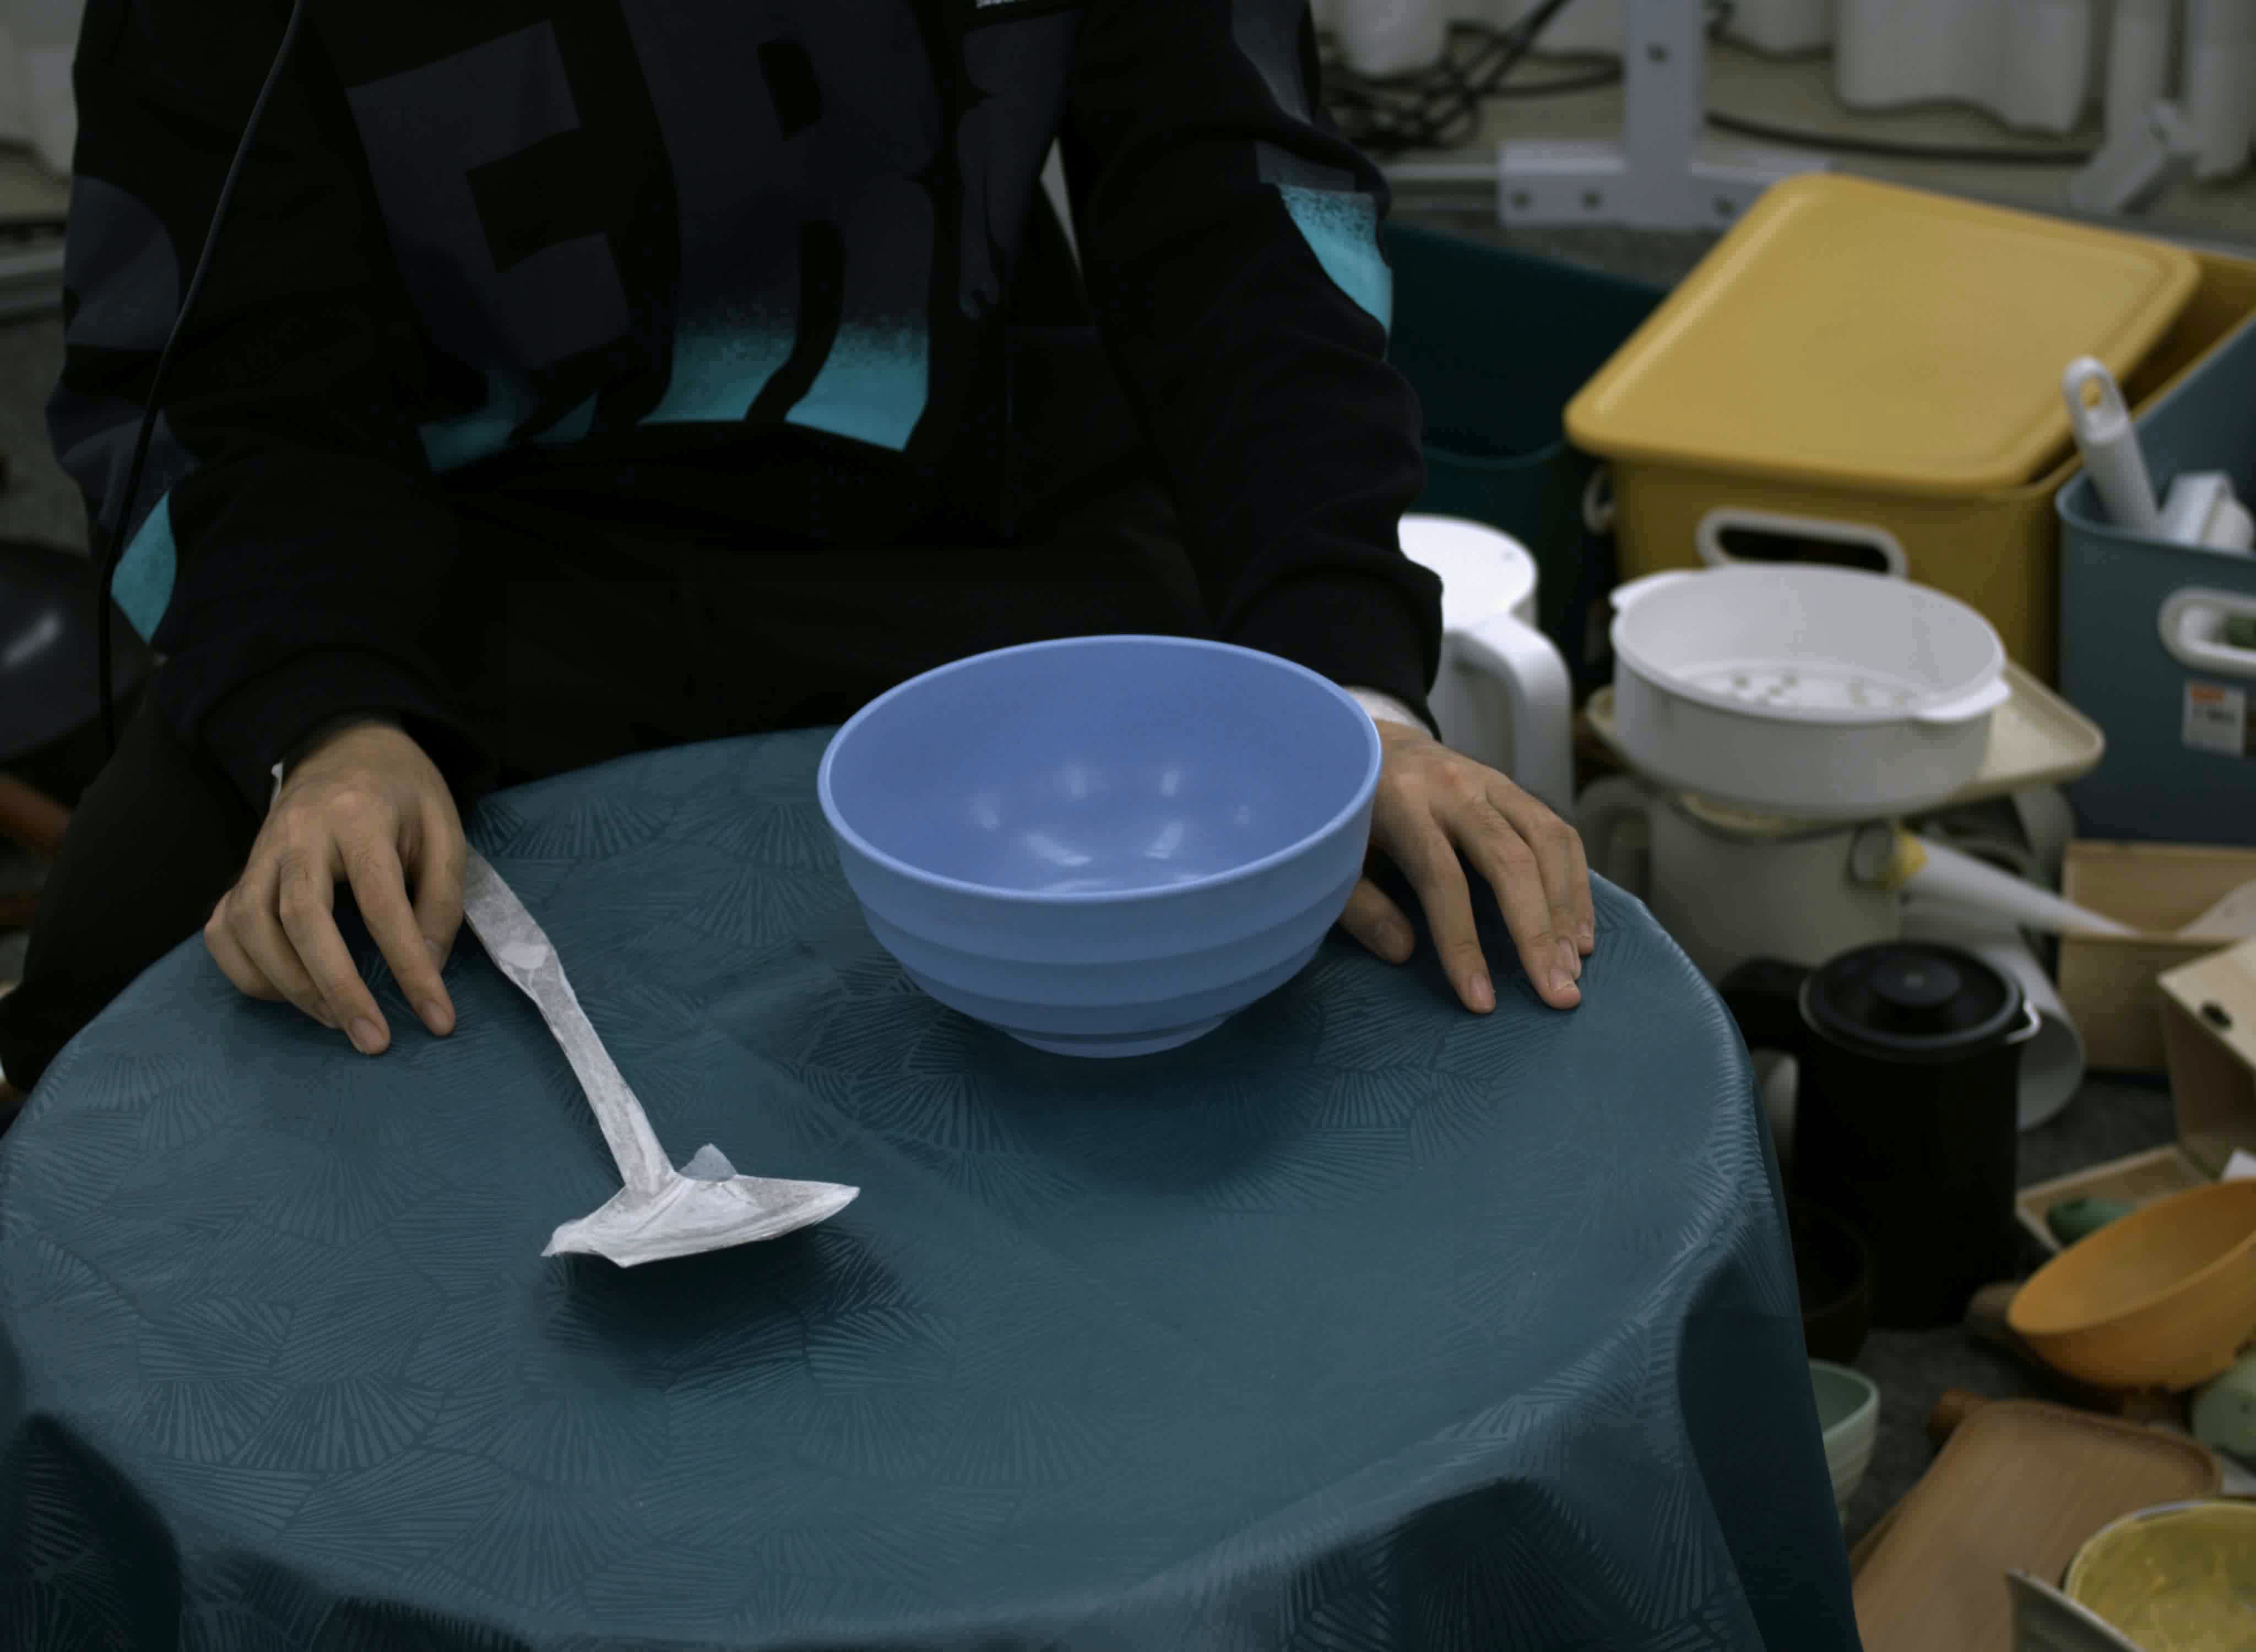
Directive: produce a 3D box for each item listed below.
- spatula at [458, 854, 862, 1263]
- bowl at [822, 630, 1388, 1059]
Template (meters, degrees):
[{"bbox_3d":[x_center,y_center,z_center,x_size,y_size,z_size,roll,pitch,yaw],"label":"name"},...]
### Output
[{"bbox_3d":[-0.184,0.072,1.934,0.099,0.044,0.368,-13,29,-16],"label":"spatula"},{"bbox_3d":[-0.006,0.018,1.960,0.195,0.094,0.199,-2,28,2],"label":"bowl"}]
